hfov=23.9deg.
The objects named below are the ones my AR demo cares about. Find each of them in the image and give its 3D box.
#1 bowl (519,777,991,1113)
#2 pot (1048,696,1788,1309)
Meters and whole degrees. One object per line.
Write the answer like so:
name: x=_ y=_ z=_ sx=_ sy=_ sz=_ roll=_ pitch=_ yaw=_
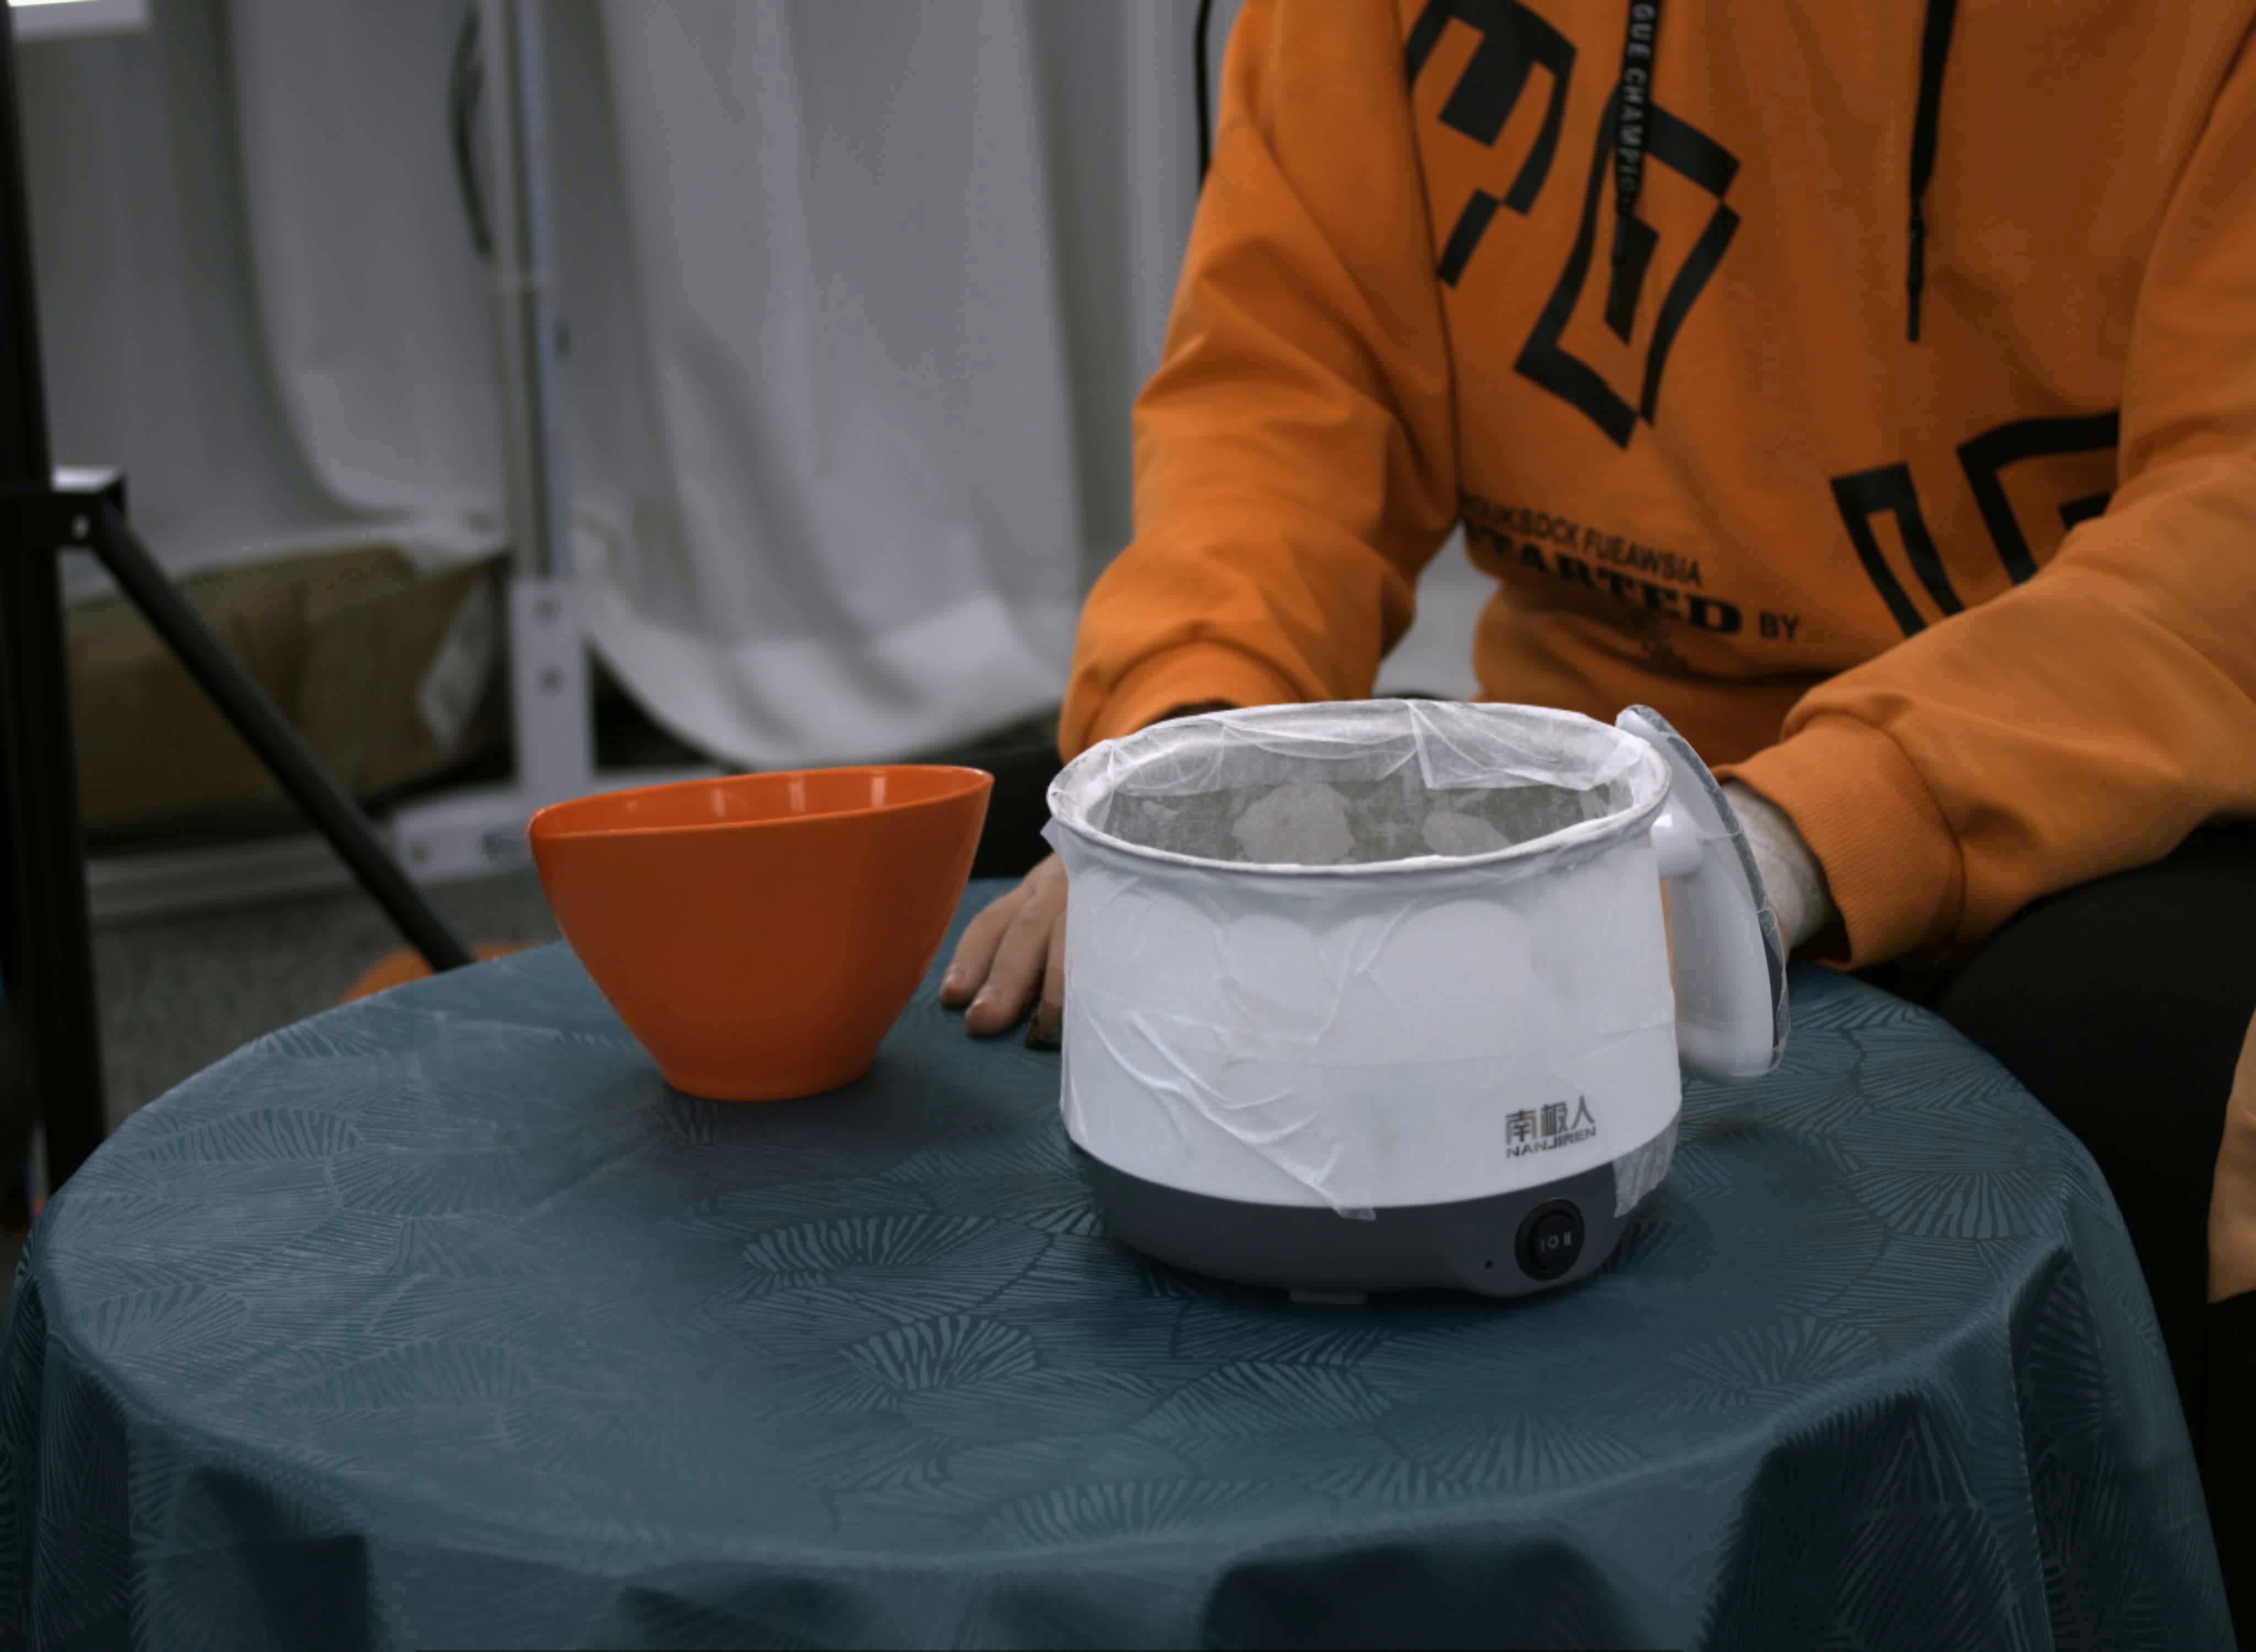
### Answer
bowl: x=-0.114 y=0.034 z=1.664 sx=0.147 sy=0.104 sz=0.149 roll=-3 pitch=14 yaw=-1
pot: x=0.091 y=0.043 z=1.521 sx=0.228 sy=0.136 sz=0.183 roll=-12 pitch=19 yaw=-31
